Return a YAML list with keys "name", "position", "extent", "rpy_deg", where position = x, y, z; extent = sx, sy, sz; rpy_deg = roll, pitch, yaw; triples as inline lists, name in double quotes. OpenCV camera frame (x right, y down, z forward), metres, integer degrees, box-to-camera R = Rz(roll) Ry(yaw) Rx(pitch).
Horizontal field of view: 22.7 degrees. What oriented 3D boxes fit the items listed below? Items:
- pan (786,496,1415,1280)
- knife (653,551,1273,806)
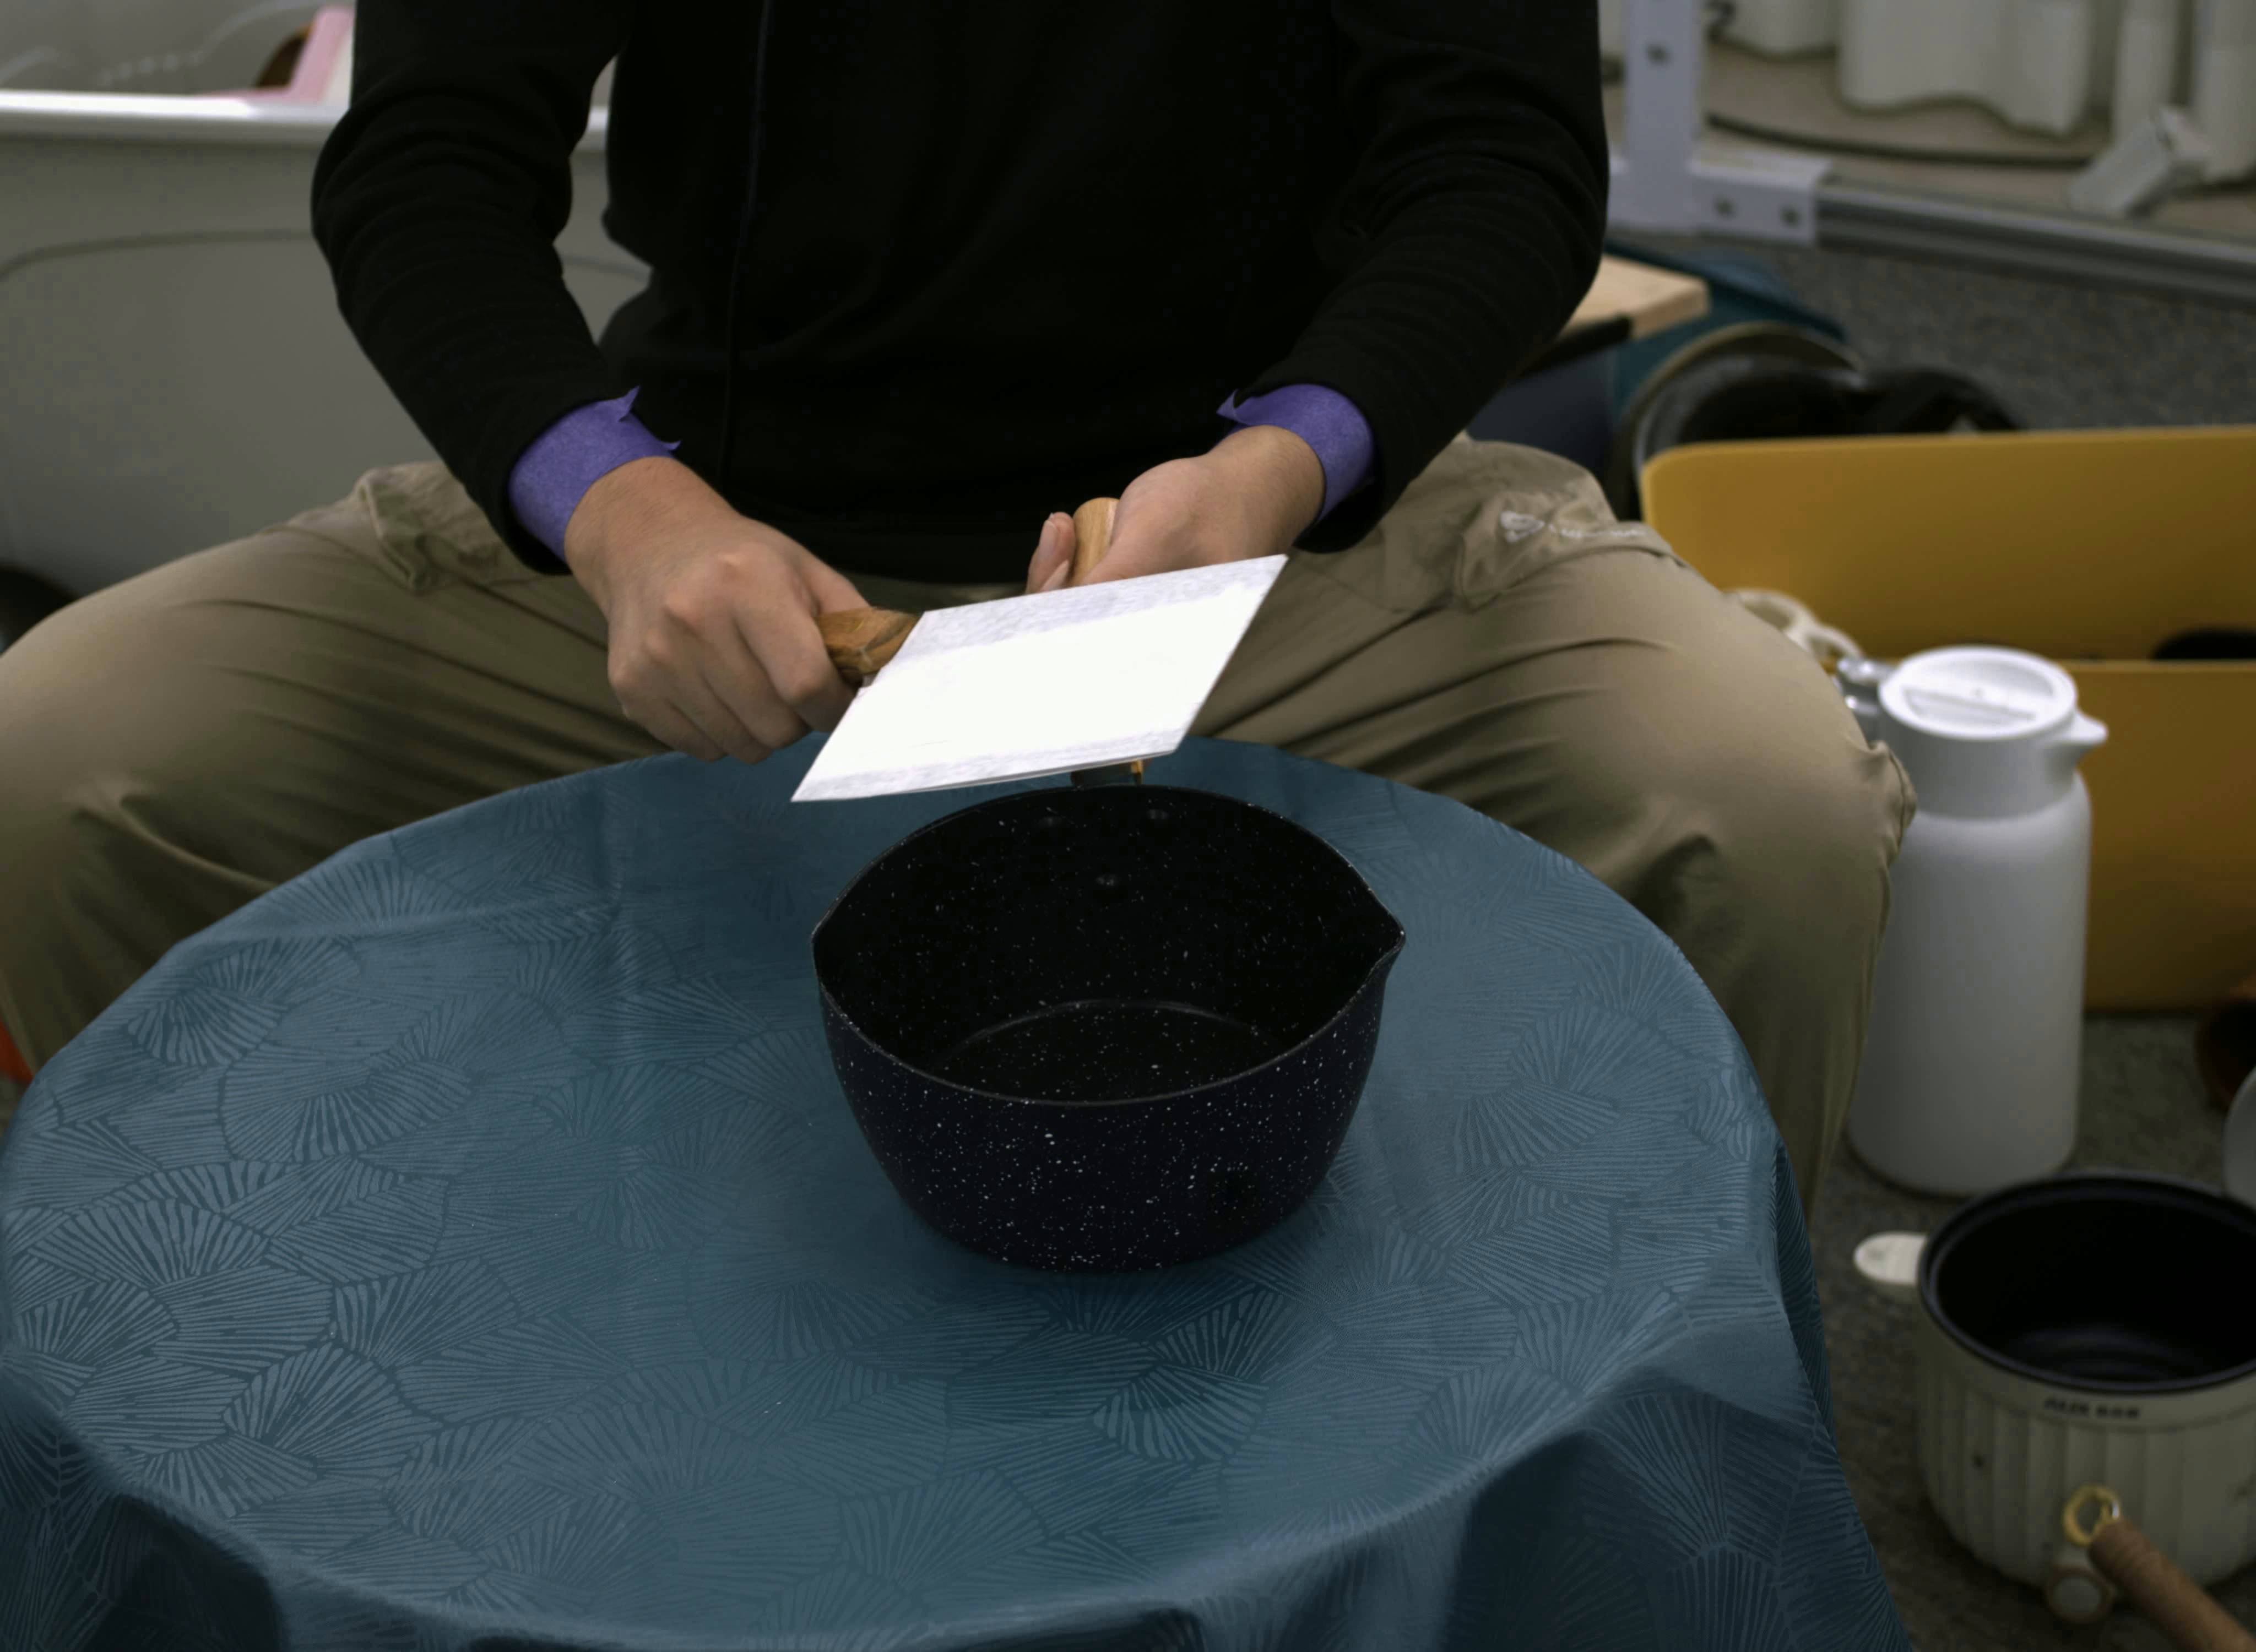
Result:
- name: "pan"
  position: [-0.009, 0.018, 1.917]
  extent: [0.206, 0.107, 0.349]
  rpy_deg: [-2, 33, 0]
- name: "knife"
  position: [-0.072, -0.045, 1.936]
  extent: [0.302, 0.021, 0.094]
  rpy_deg: [-7, 42, 46]
